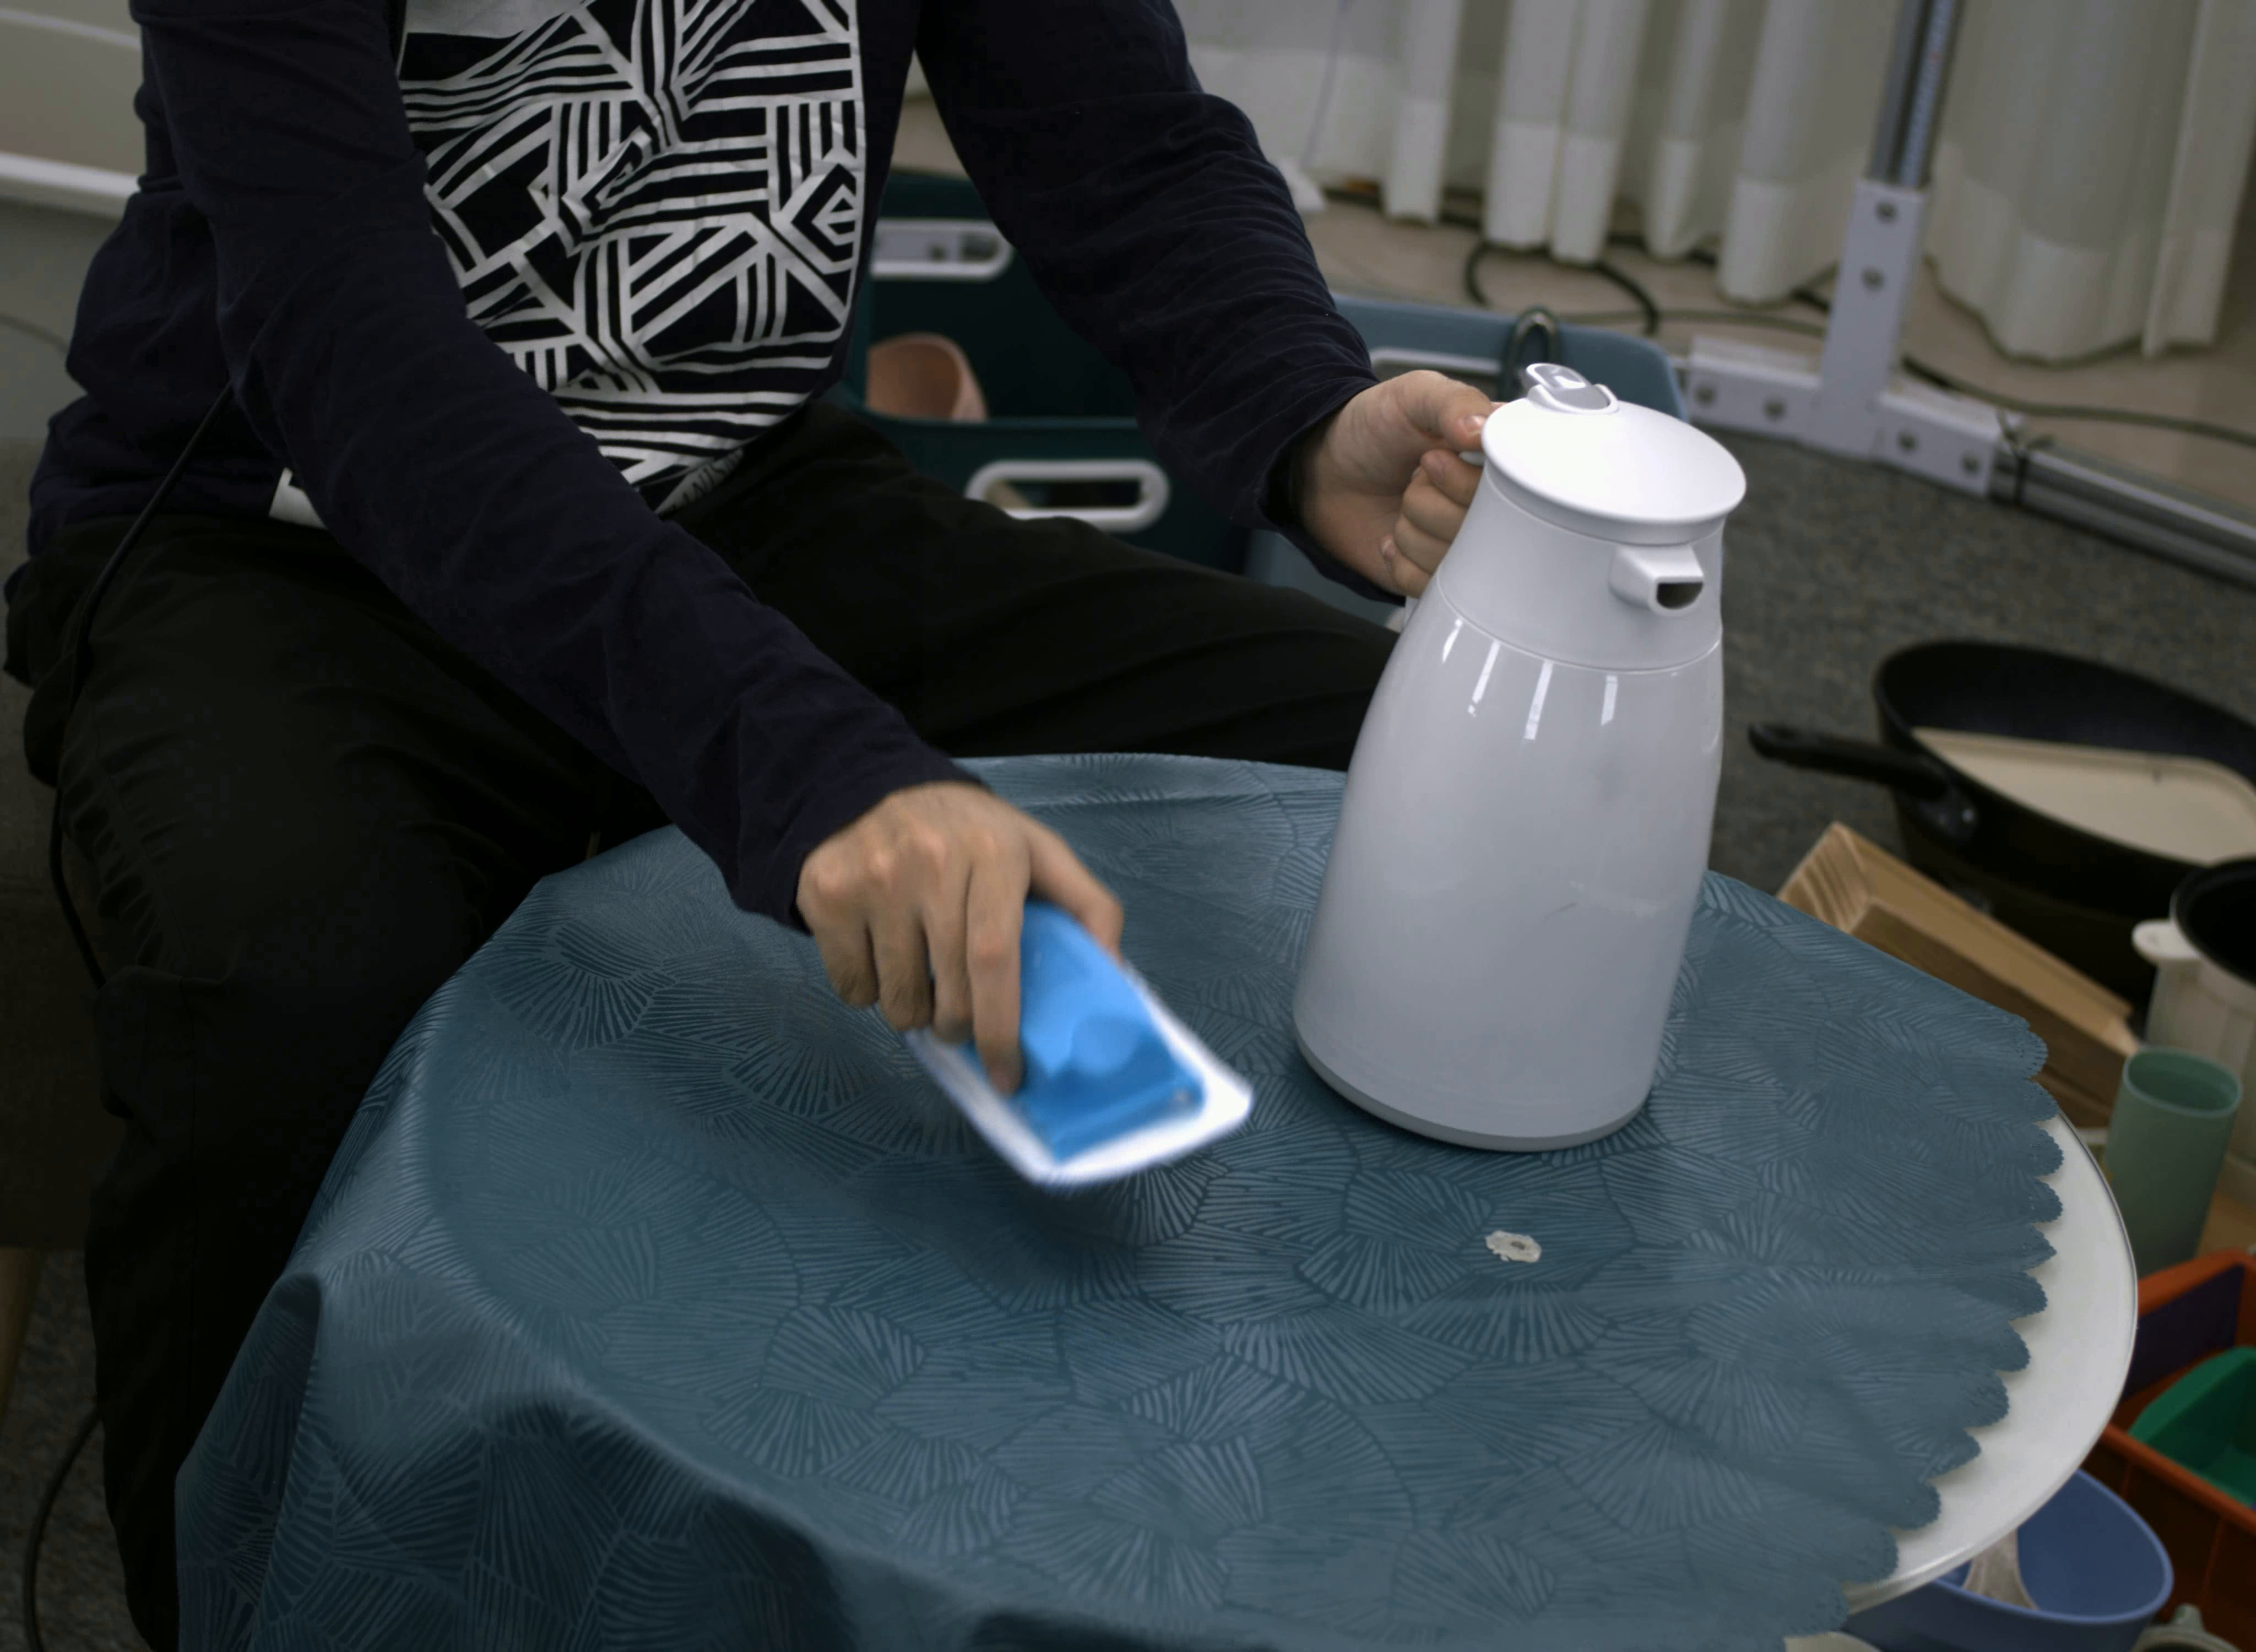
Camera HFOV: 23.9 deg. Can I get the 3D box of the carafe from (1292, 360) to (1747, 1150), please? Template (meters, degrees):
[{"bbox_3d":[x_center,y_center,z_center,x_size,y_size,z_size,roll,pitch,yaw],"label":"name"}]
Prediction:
[{"bbox_3d":[0.136,-0.035,1.863,0.131,0.248,0.169,-3,31,-24],"label":"carafe"}]

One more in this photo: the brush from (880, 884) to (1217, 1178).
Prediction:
[{"bbox_3d":[-0.028,0.064,1.785,0.083,0.055,0.145,-14,31,-16],"label":"brush"}]
